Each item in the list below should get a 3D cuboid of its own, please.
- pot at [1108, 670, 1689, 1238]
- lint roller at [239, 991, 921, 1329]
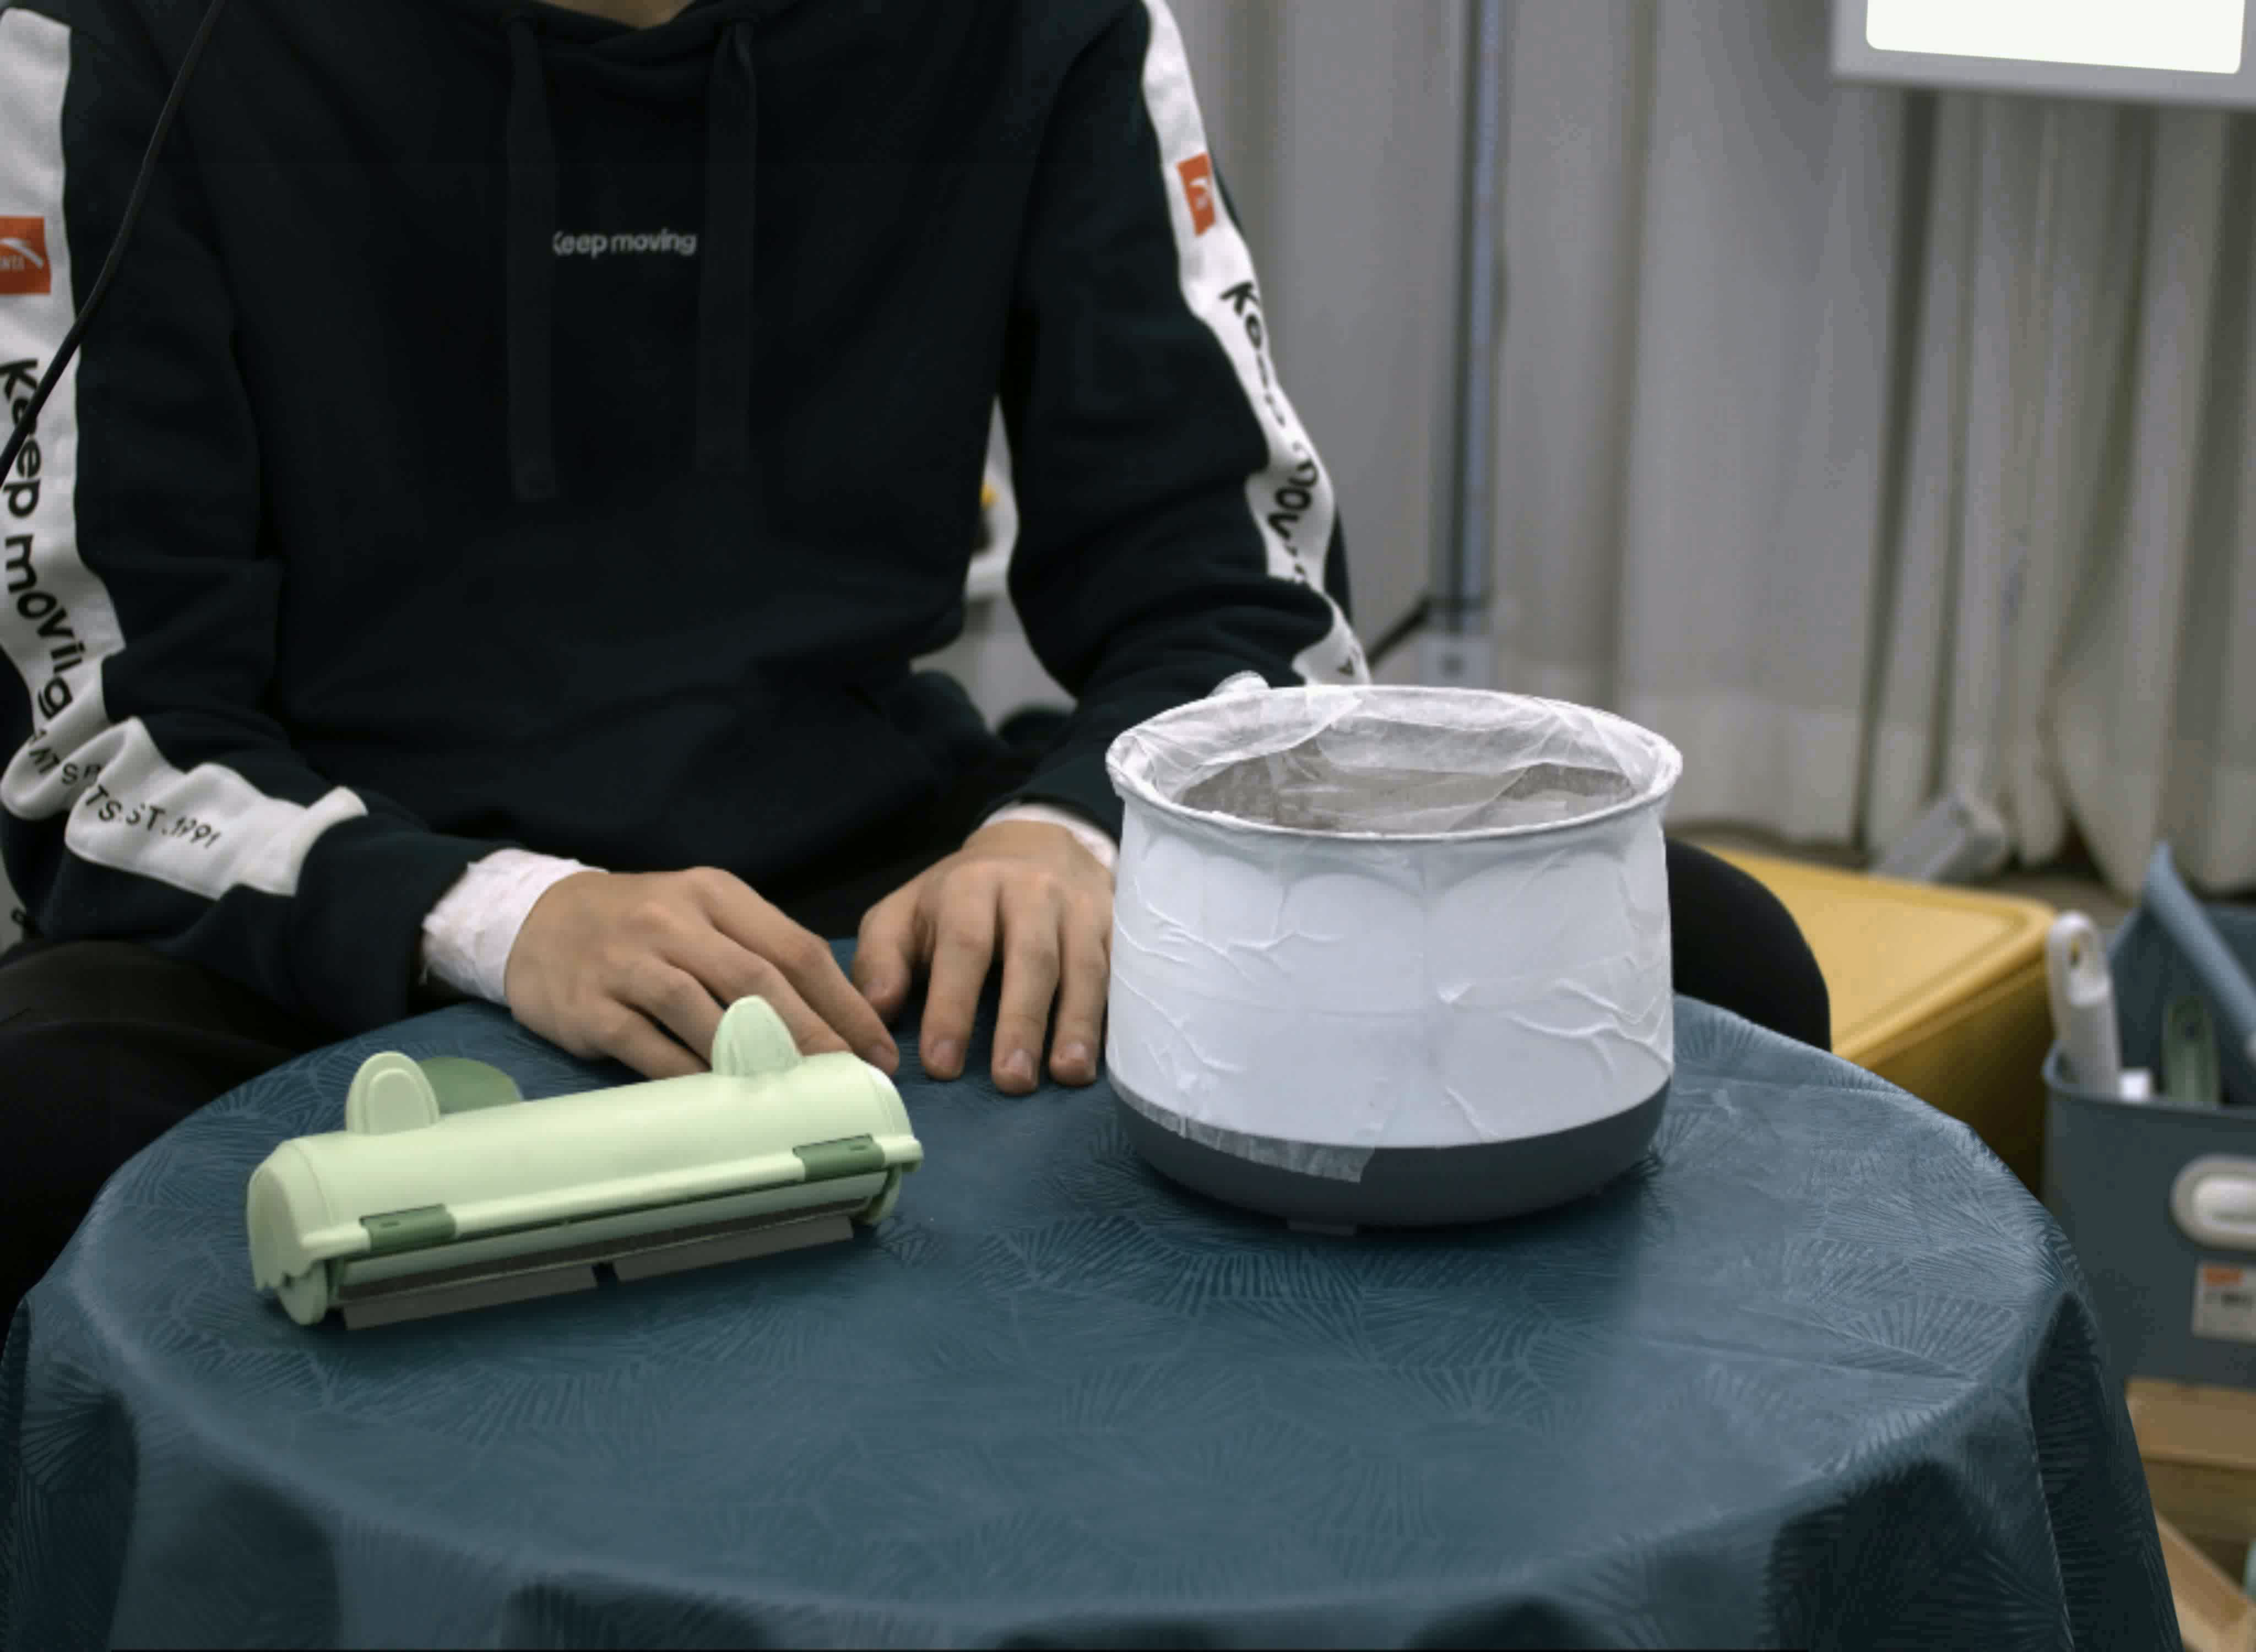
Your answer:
[{"bbox_3d":[0.070,0.034,1.650,0.179,0.138,0.231,-7,18,-26],"label":"pot"},{"bbox_3d":[-0.186,0.081,1.584,0.199,0.083,0.181,-8,23,-27],"label":"lint roller"}]
